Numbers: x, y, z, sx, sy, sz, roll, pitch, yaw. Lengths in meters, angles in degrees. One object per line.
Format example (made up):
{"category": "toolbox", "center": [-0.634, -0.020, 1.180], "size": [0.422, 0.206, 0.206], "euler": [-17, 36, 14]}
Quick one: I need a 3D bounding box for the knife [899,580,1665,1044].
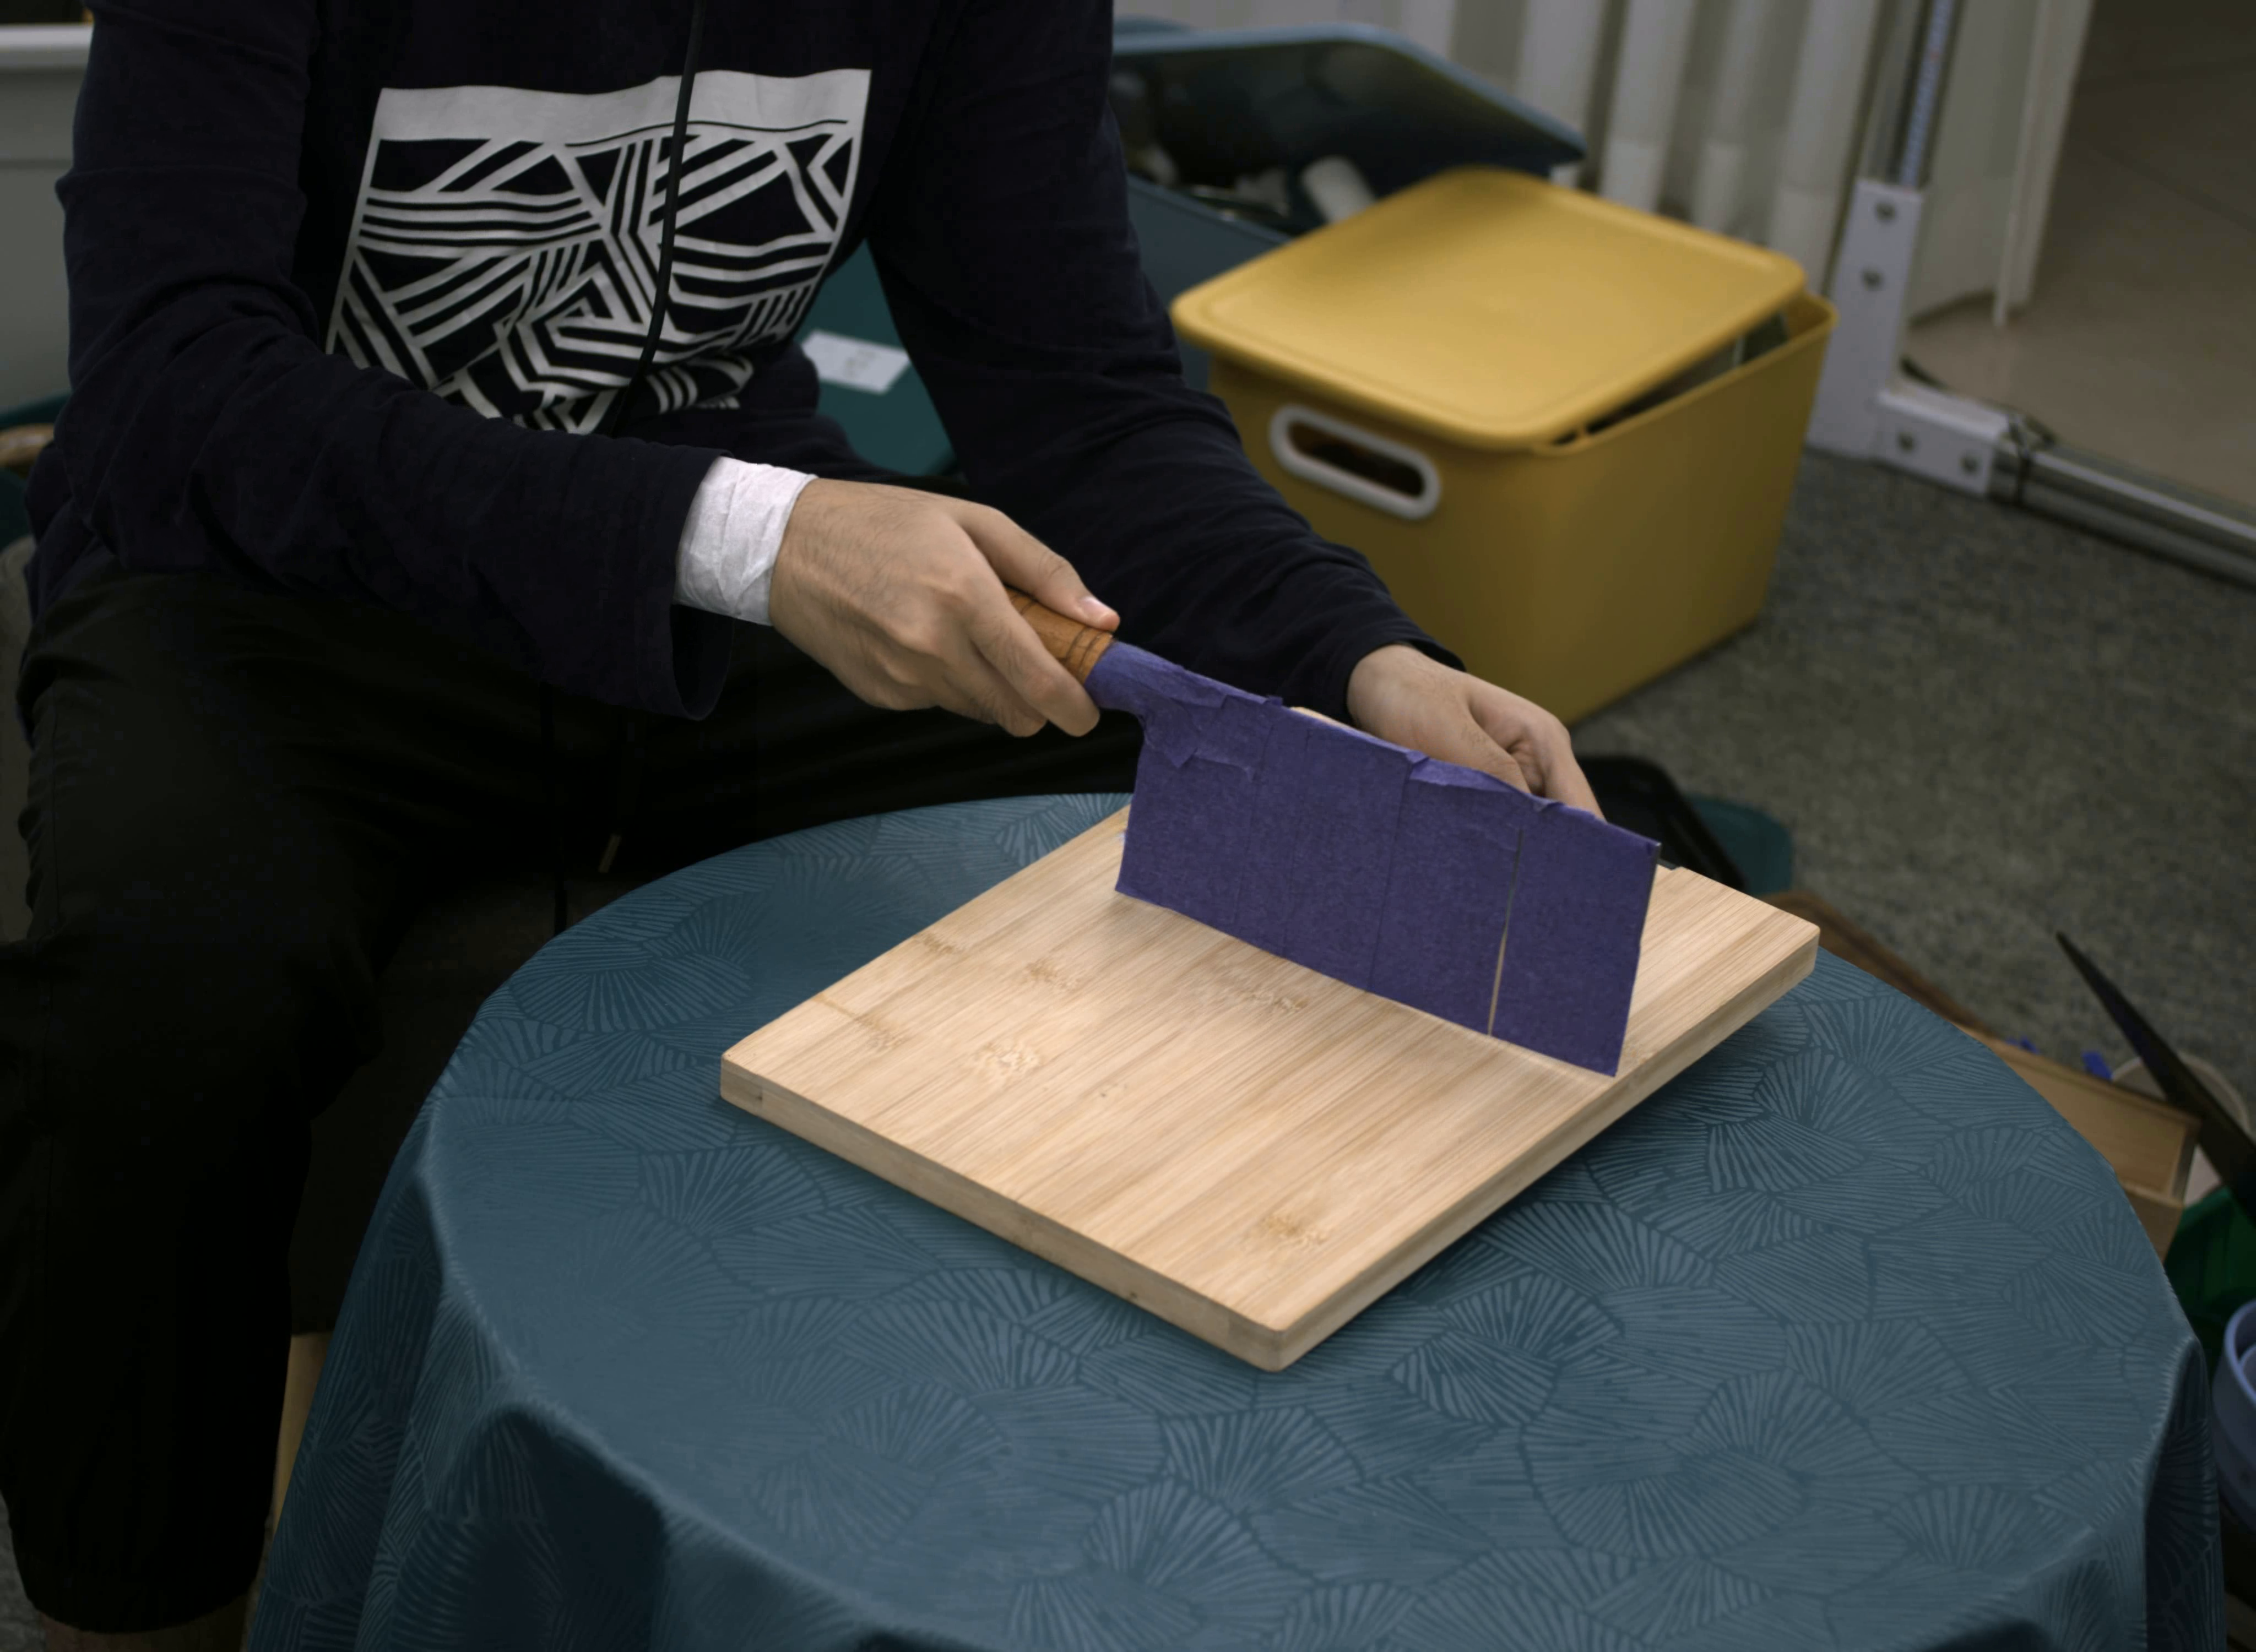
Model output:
{"category": "knife", "center": [0.046, -0.003, 1.891], "size": [0.317, 0.104, 0.032], "euler": [20, 20, 31]}

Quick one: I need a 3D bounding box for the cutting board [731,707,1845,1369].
{"category": "cutting board", "center": [0.060, 0.064, 1.890], "size": [0.252, 0.023, 0.348], "euler": [23, 35, 30]}
